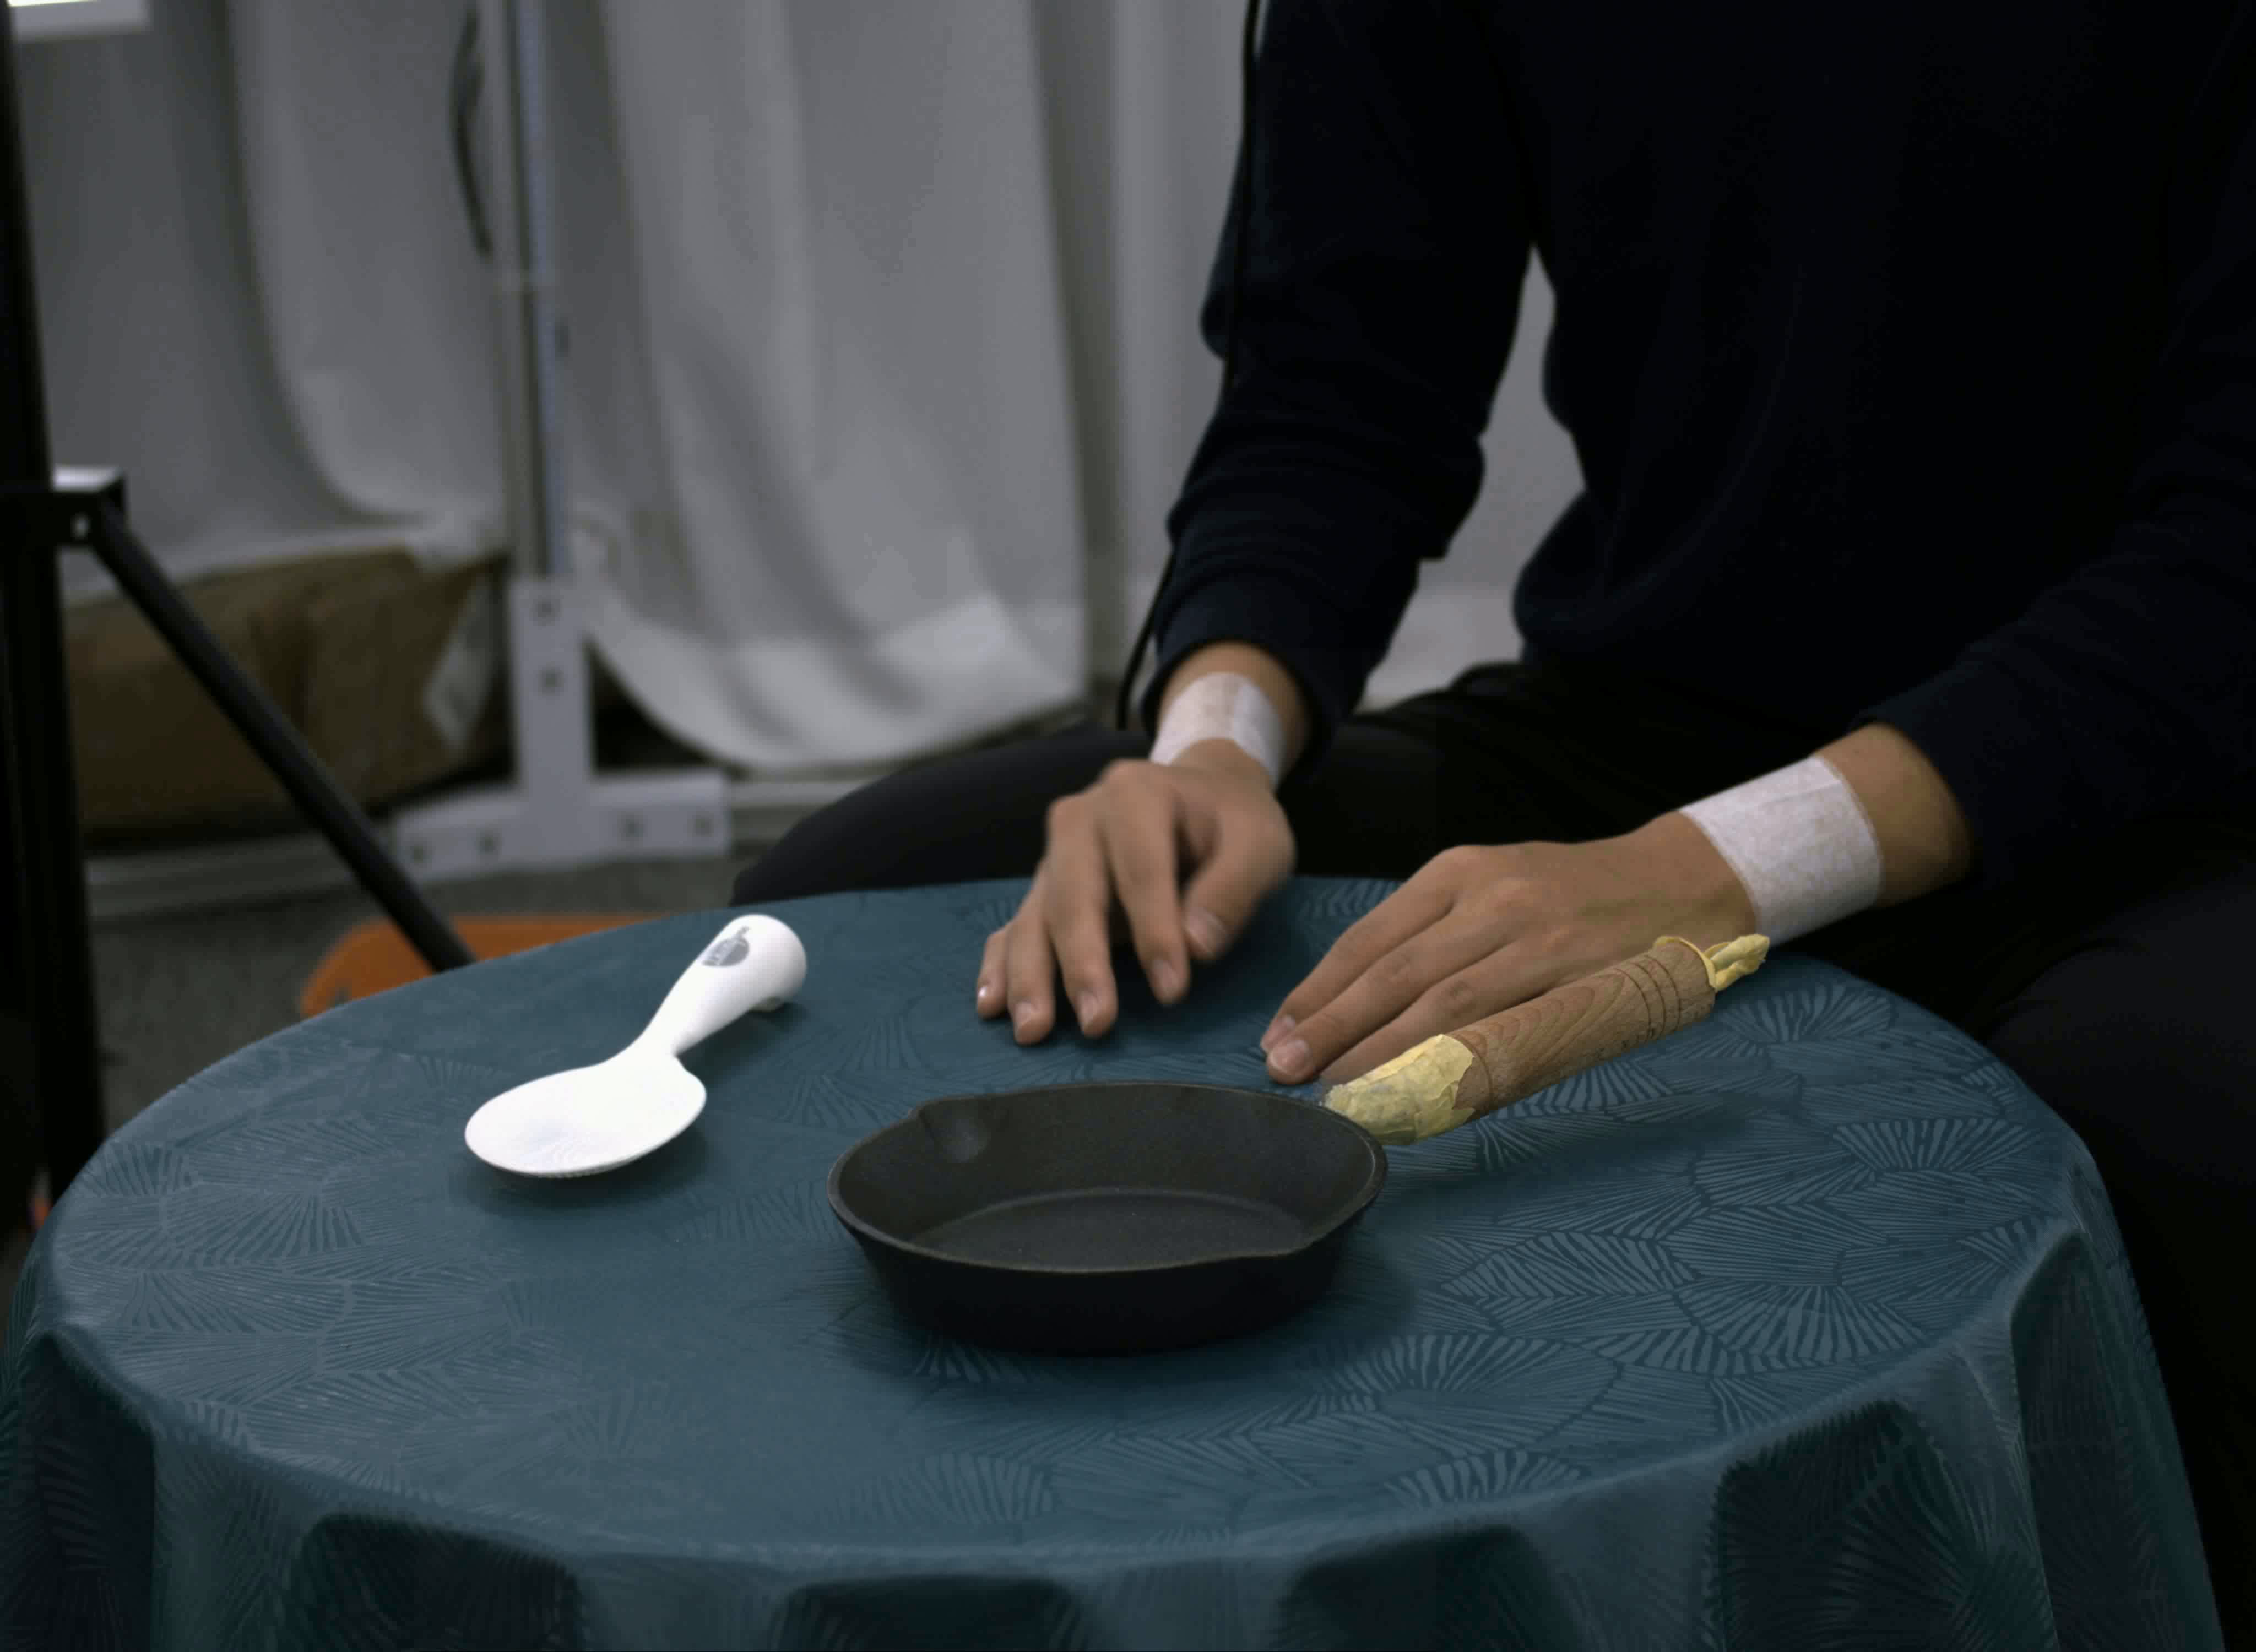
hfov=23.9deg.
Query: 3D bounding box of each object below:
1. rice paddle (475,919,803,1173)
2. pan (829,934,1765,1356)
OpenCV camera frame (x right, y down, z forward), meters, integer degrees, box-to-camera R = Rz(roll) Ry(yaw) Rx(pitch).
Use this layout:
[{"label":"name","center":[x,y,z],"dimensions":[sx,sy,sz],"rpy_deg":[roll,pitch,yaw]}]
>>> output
[{"label":"rice paddle","center":[-0.146,0.071,1.660],"dimensions":[0.069,0.029,0.203],"rpy_deg":[0,15,16]},{"label":"pan","center":[0.063,0.087,1.528],"dimensions":[0.317,0.049,0.173],"rpy_deg":[-14,19,-31]}]
